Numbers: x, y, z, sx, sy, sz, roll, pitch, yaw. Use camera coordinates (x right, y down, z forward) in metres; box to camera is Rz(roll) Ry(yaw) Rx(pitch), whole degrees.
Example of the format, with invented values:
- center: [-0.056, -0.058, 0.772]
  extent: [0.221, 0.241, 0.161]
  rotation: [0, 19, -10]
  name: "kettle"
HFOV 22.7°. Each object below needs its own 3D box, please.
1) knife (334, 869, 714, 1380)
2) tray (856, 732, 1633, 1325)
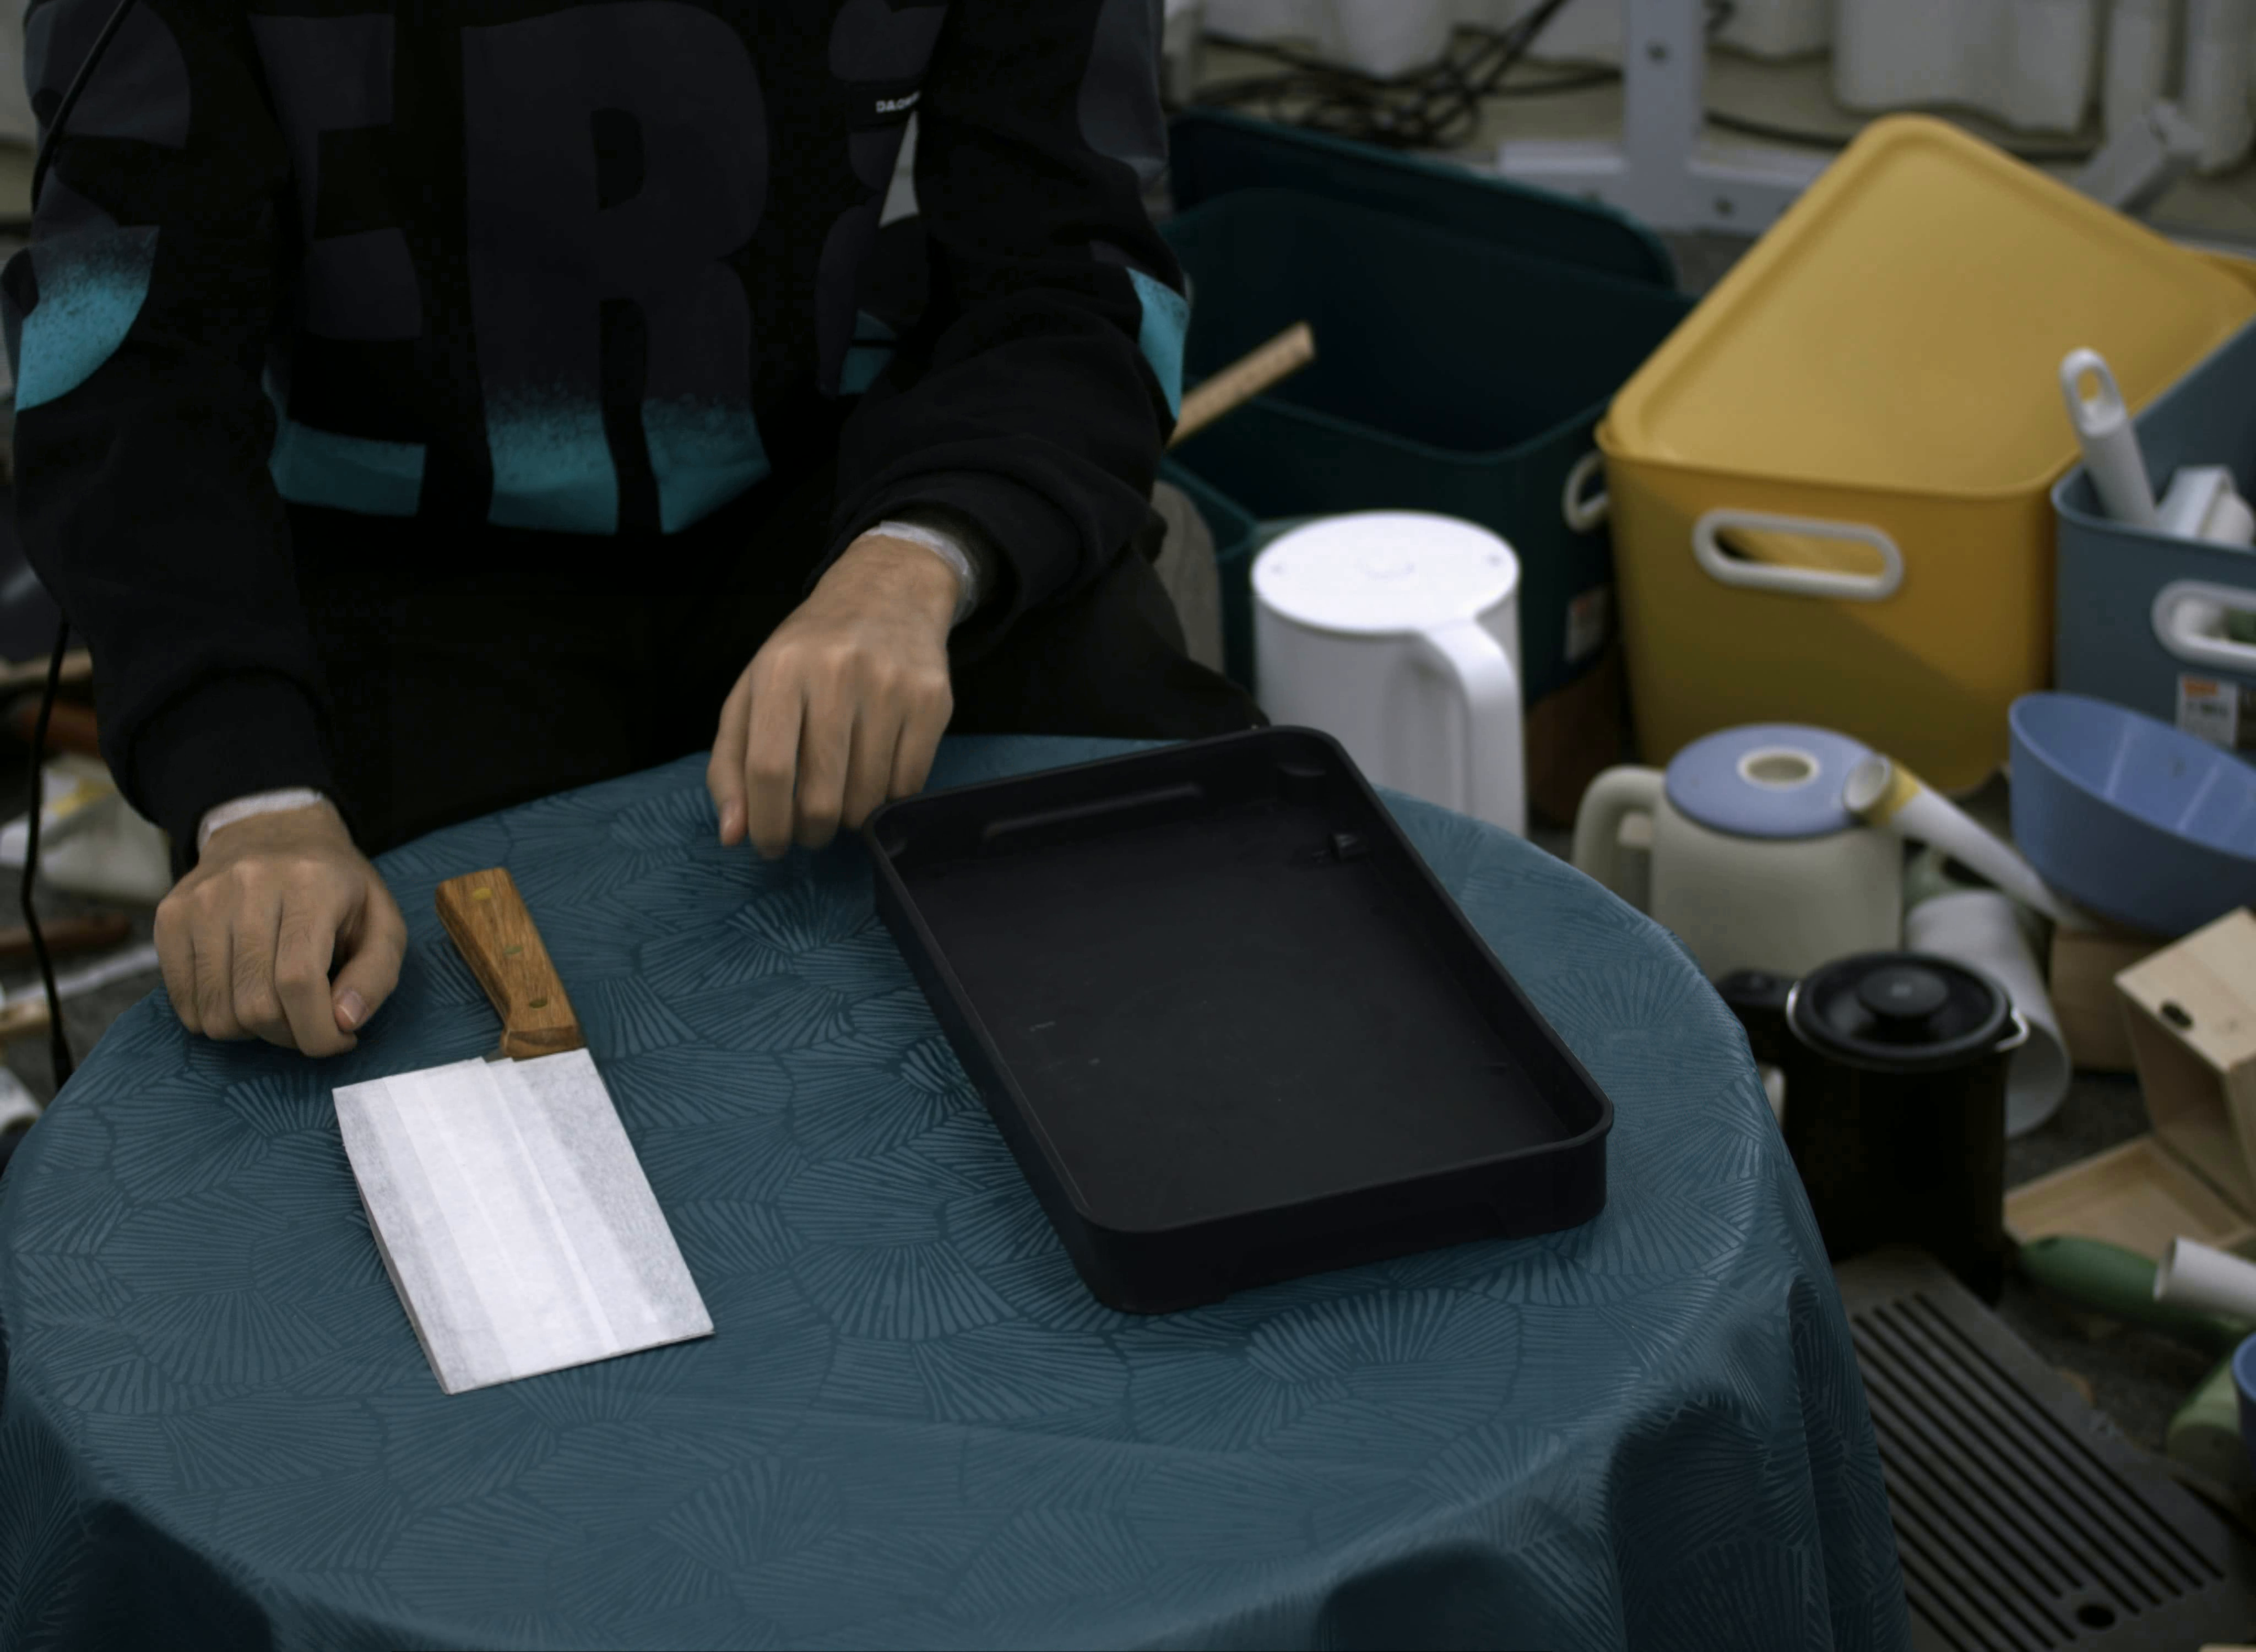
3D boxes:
- center: [-0.219, 0.100, 1.909]
  extent: [0.093, 0.021, 0.309]
  rotation: [-12, 31, -14]
  name: "knife"
- center: [0.034, 0.063, 1.932]
  extent: [0.184, 0.036, 0.321]
  rotation: [-12, 29, -15]
  name: "tray"
